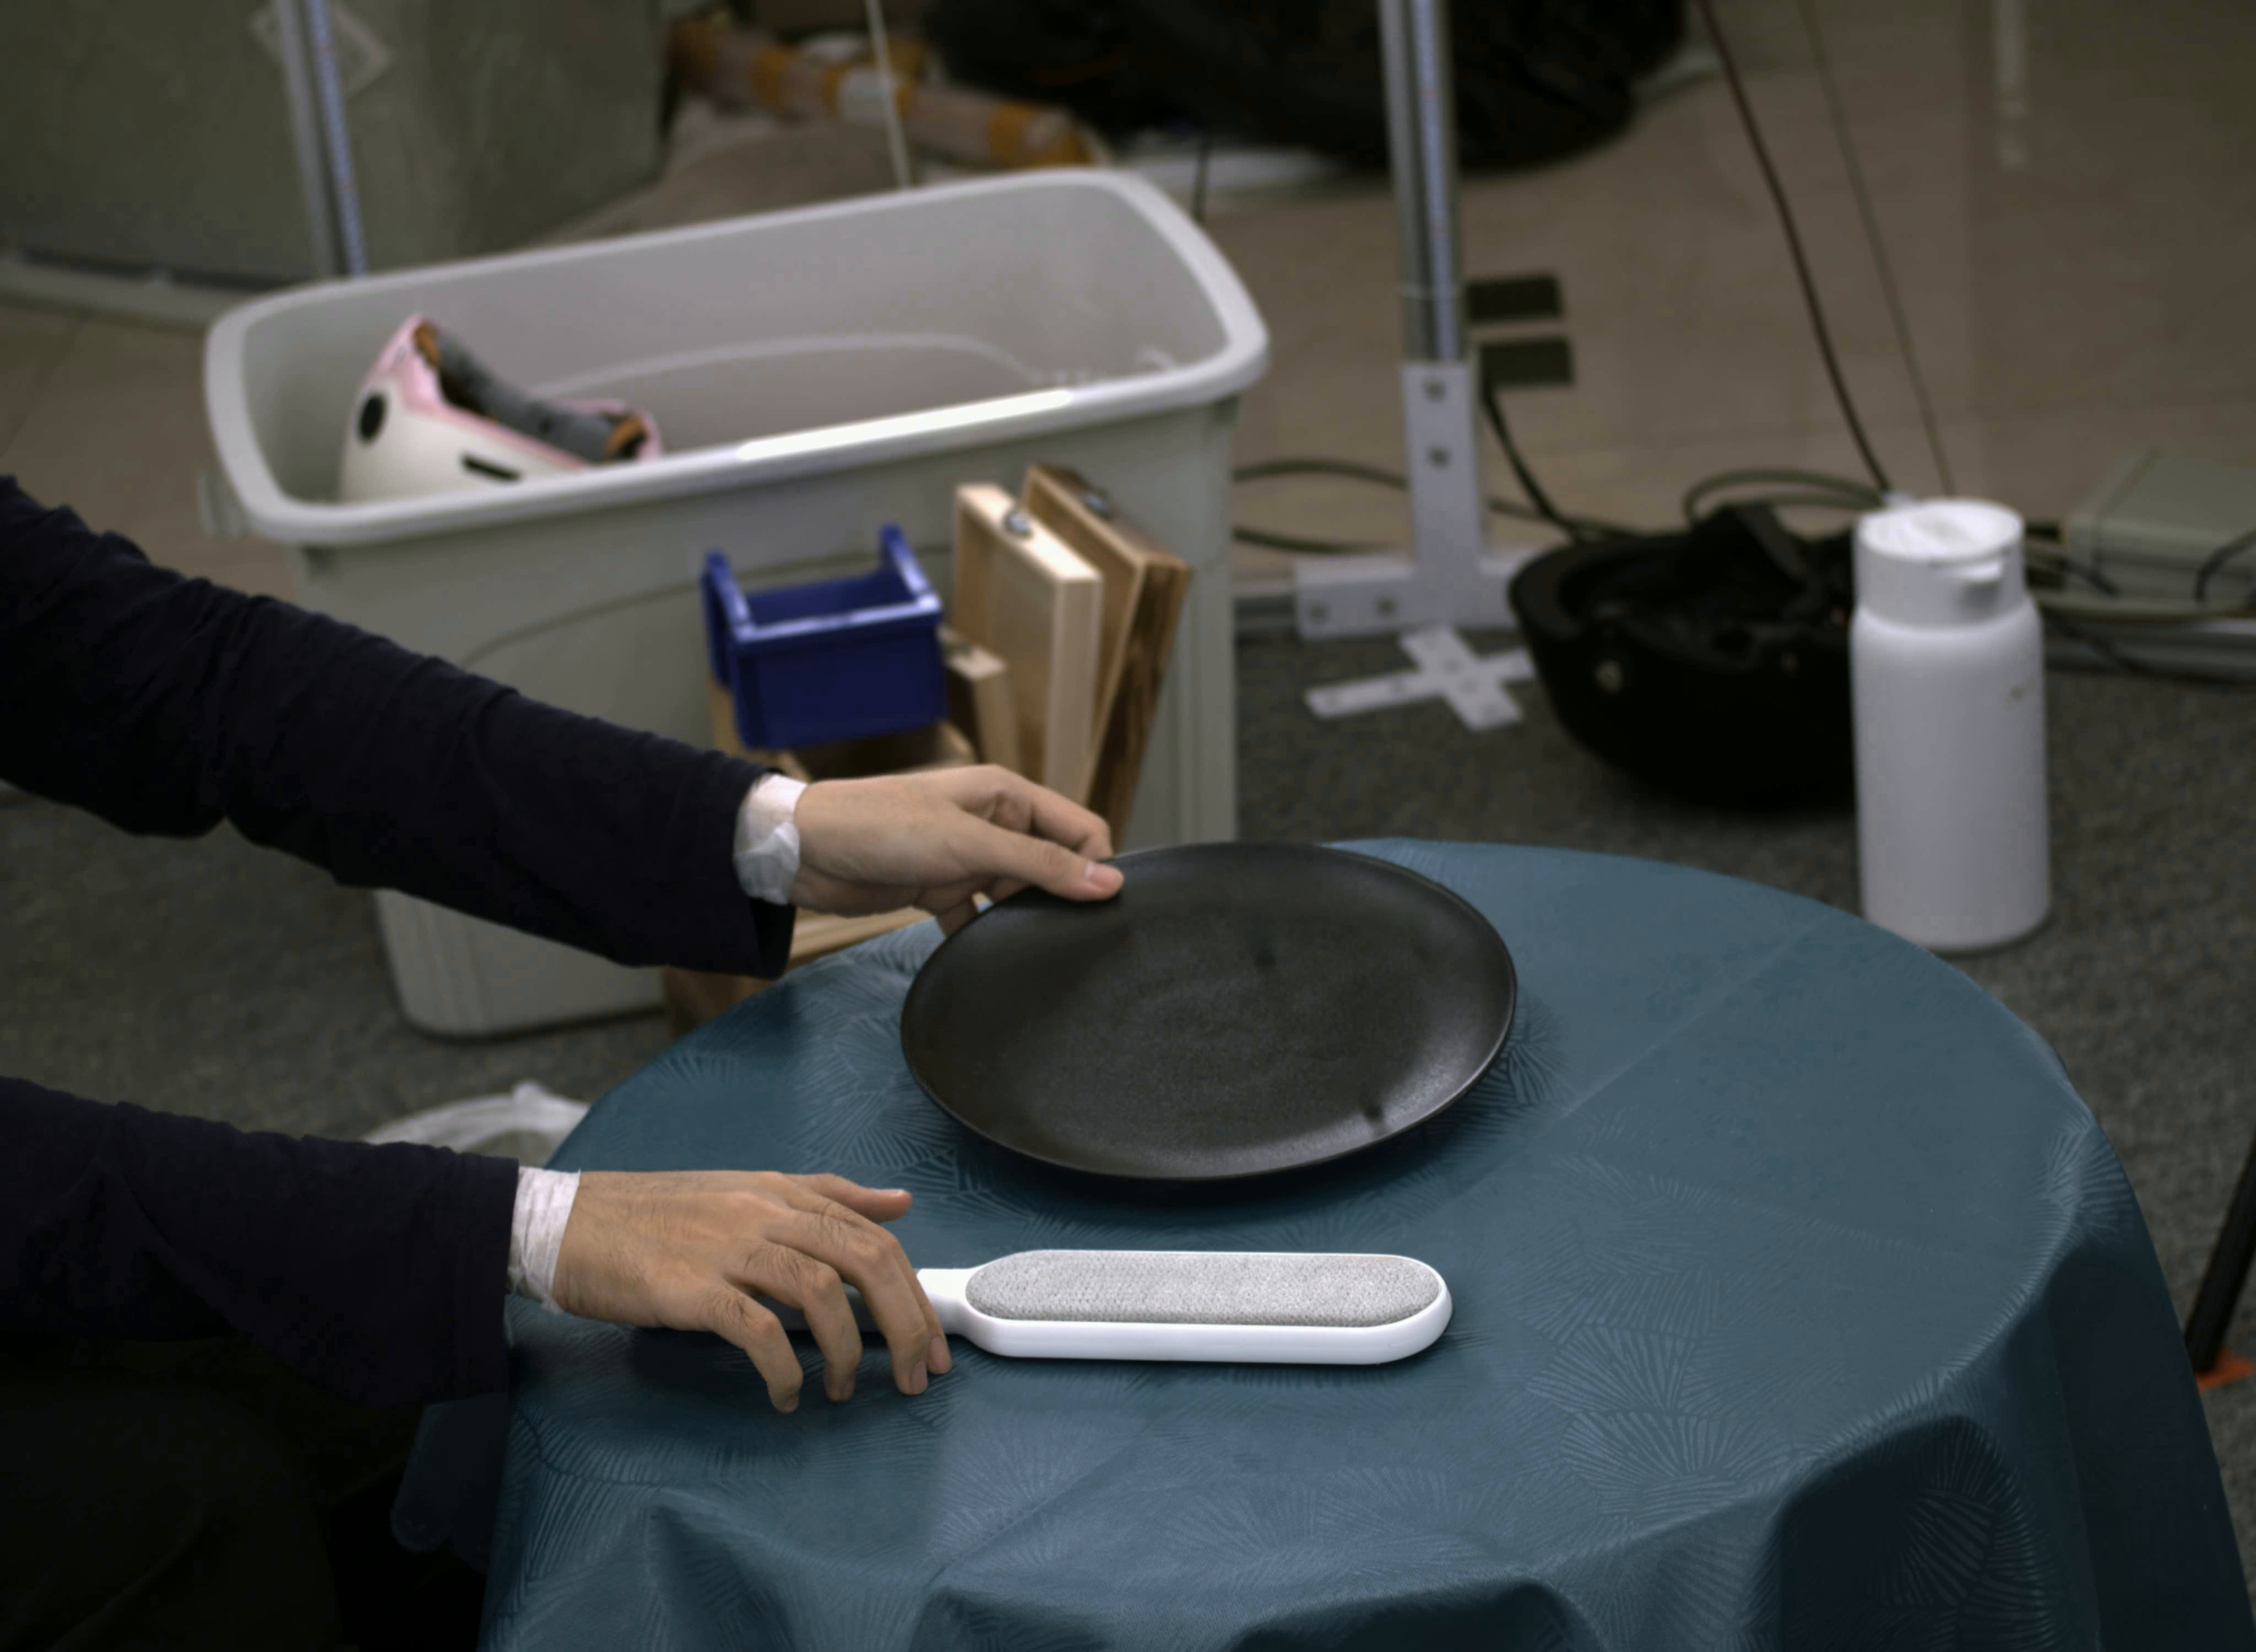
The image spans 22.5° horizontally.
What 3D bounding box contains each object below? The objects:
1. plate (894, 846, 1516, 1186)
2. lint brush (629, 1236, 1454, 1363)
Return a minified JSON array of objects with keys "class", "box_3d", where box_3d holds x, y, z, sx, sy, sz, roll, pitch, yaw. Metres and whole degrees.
[{"class":"plate","box_3d":[0.031,0.079,2.222,0.244,0.024,0.240,-4,31,2]},{"class":"lint brush","box_3d":[-0.035,0.170,2.061,0.308,0.021,0.059,0,31,15]}]
